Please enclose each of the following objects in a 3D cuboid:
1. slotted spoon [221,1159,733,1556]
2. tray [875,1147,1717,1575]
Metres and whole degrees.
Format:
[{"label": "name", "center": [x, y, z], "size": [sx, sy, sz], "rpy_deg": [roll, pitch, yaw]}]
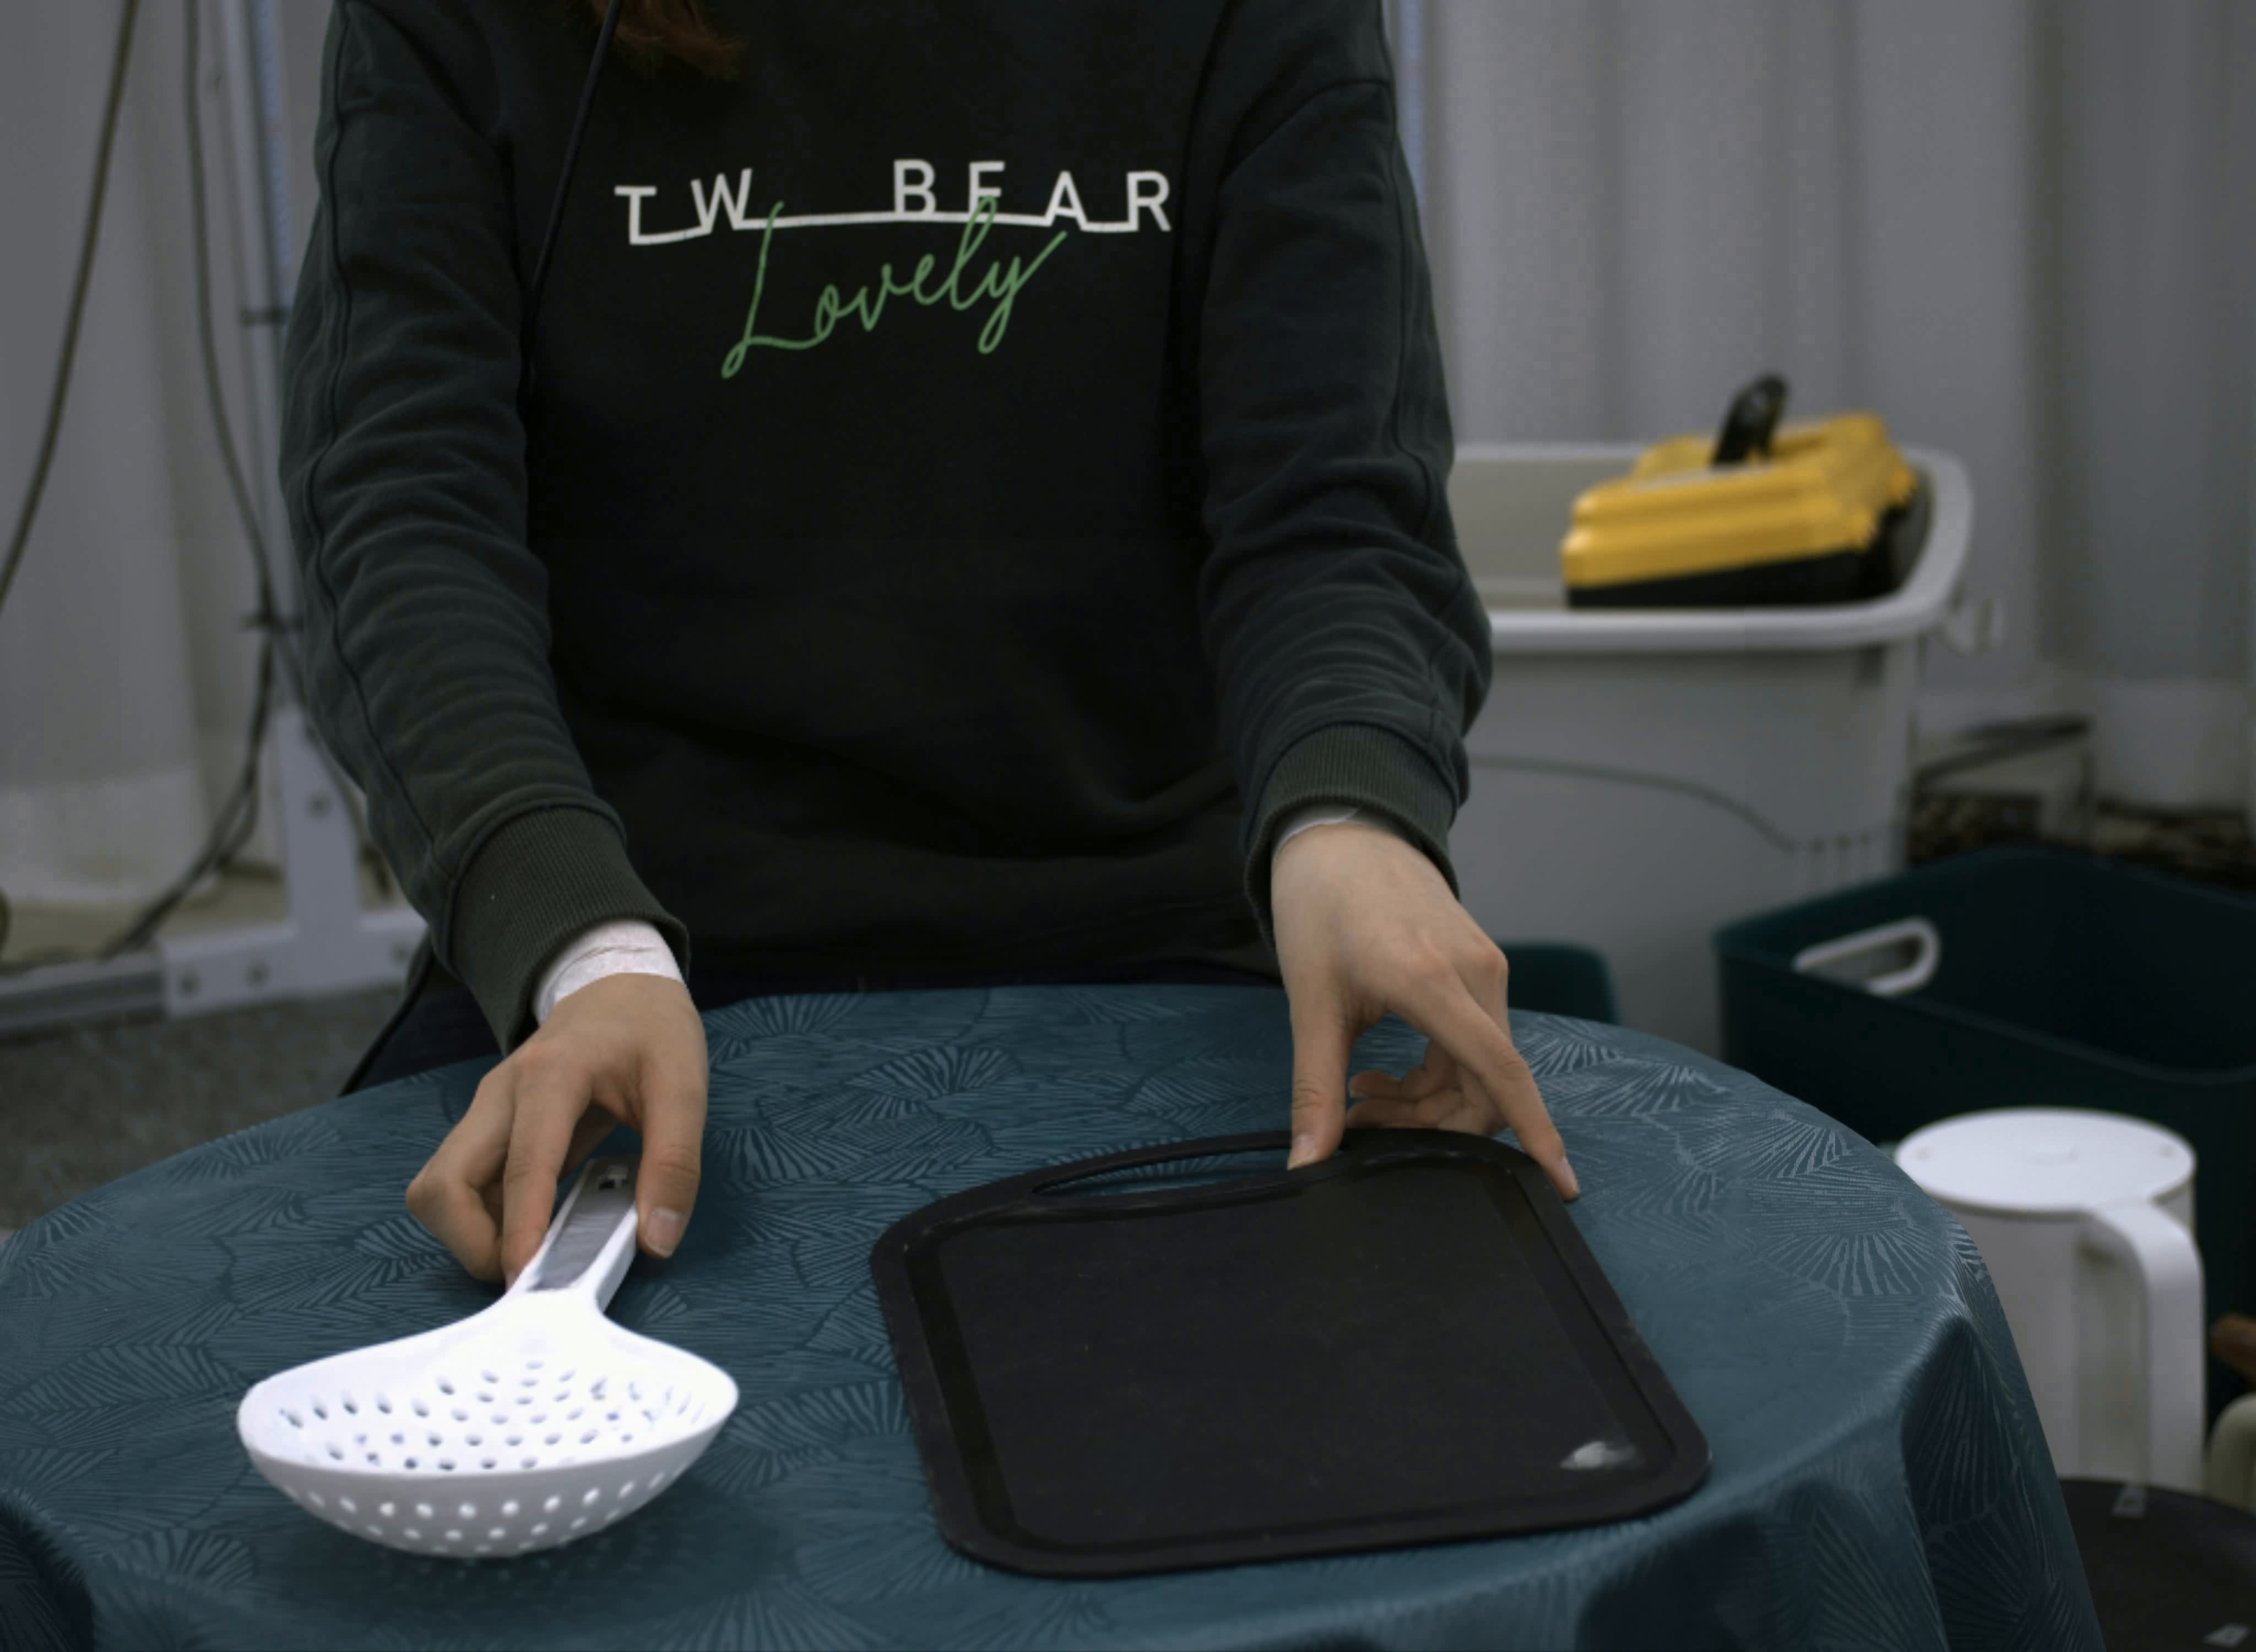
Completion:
[{"label": "slotted spoon", "center": [-0.166, 0.142, 1.557], "size": [0.135, 0.045, 0.352], "rpy_deg": [1, 14, 3]}, {"label": "tray", "center": [0.039, 0.145, 1.572], "size": [0.210, 0.010, 0.328], "rpy_deg": [-5, 15, -6]}]
